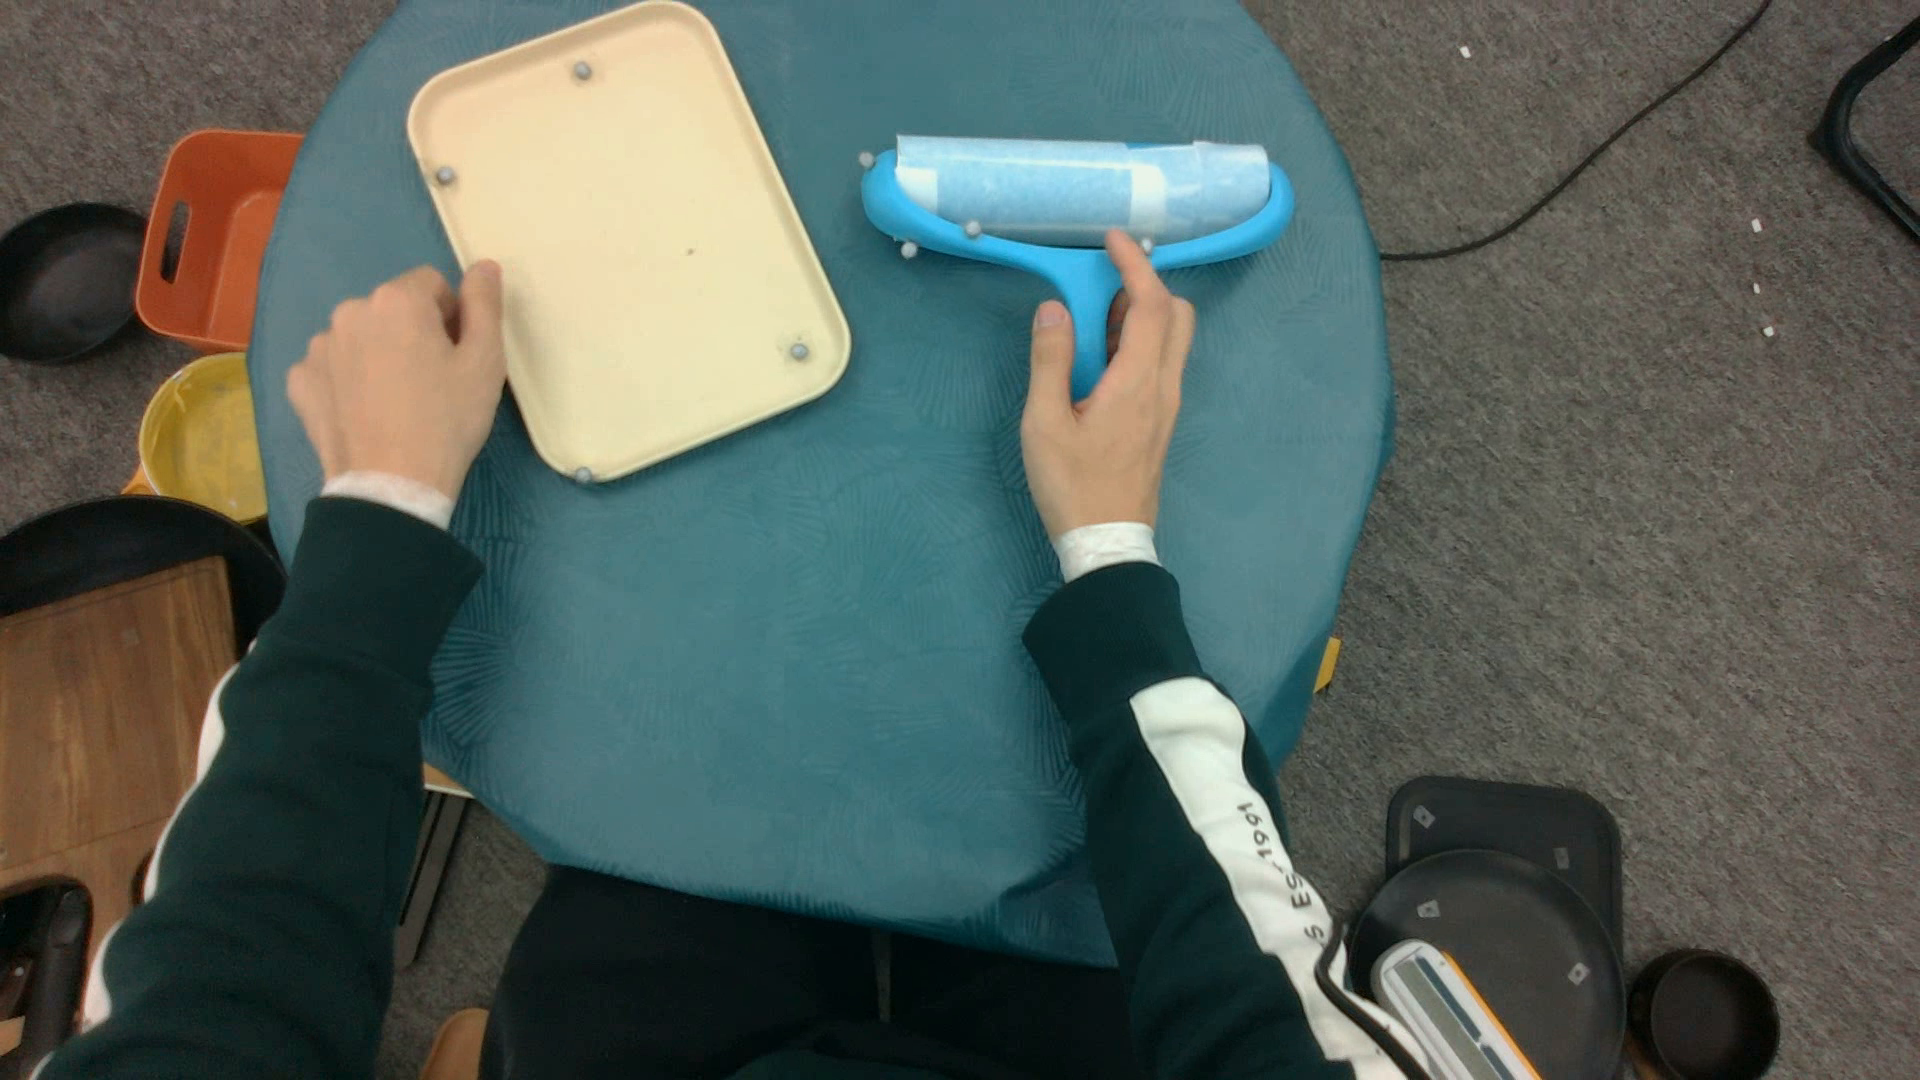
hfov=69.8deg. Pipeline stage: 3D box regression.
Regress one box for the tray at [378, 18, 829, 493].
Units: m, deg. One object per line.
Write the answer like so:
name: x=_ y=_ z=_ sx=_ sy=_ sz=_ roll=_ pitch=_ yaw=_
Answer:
tray: x=-0.186 y=-0.152 z=0.723 sx=0.171 sy=0.017 sz=0.240 roll=-25 pitch=80 yaw=-11

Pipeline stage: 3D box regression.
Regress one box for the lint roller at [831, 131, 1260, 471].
lint roller: x=0.052 y=-0.131 z=0.718 sx=0.229 sy=0.068 sz=0.180 roll=-4 pitch=76 yaw=-7
